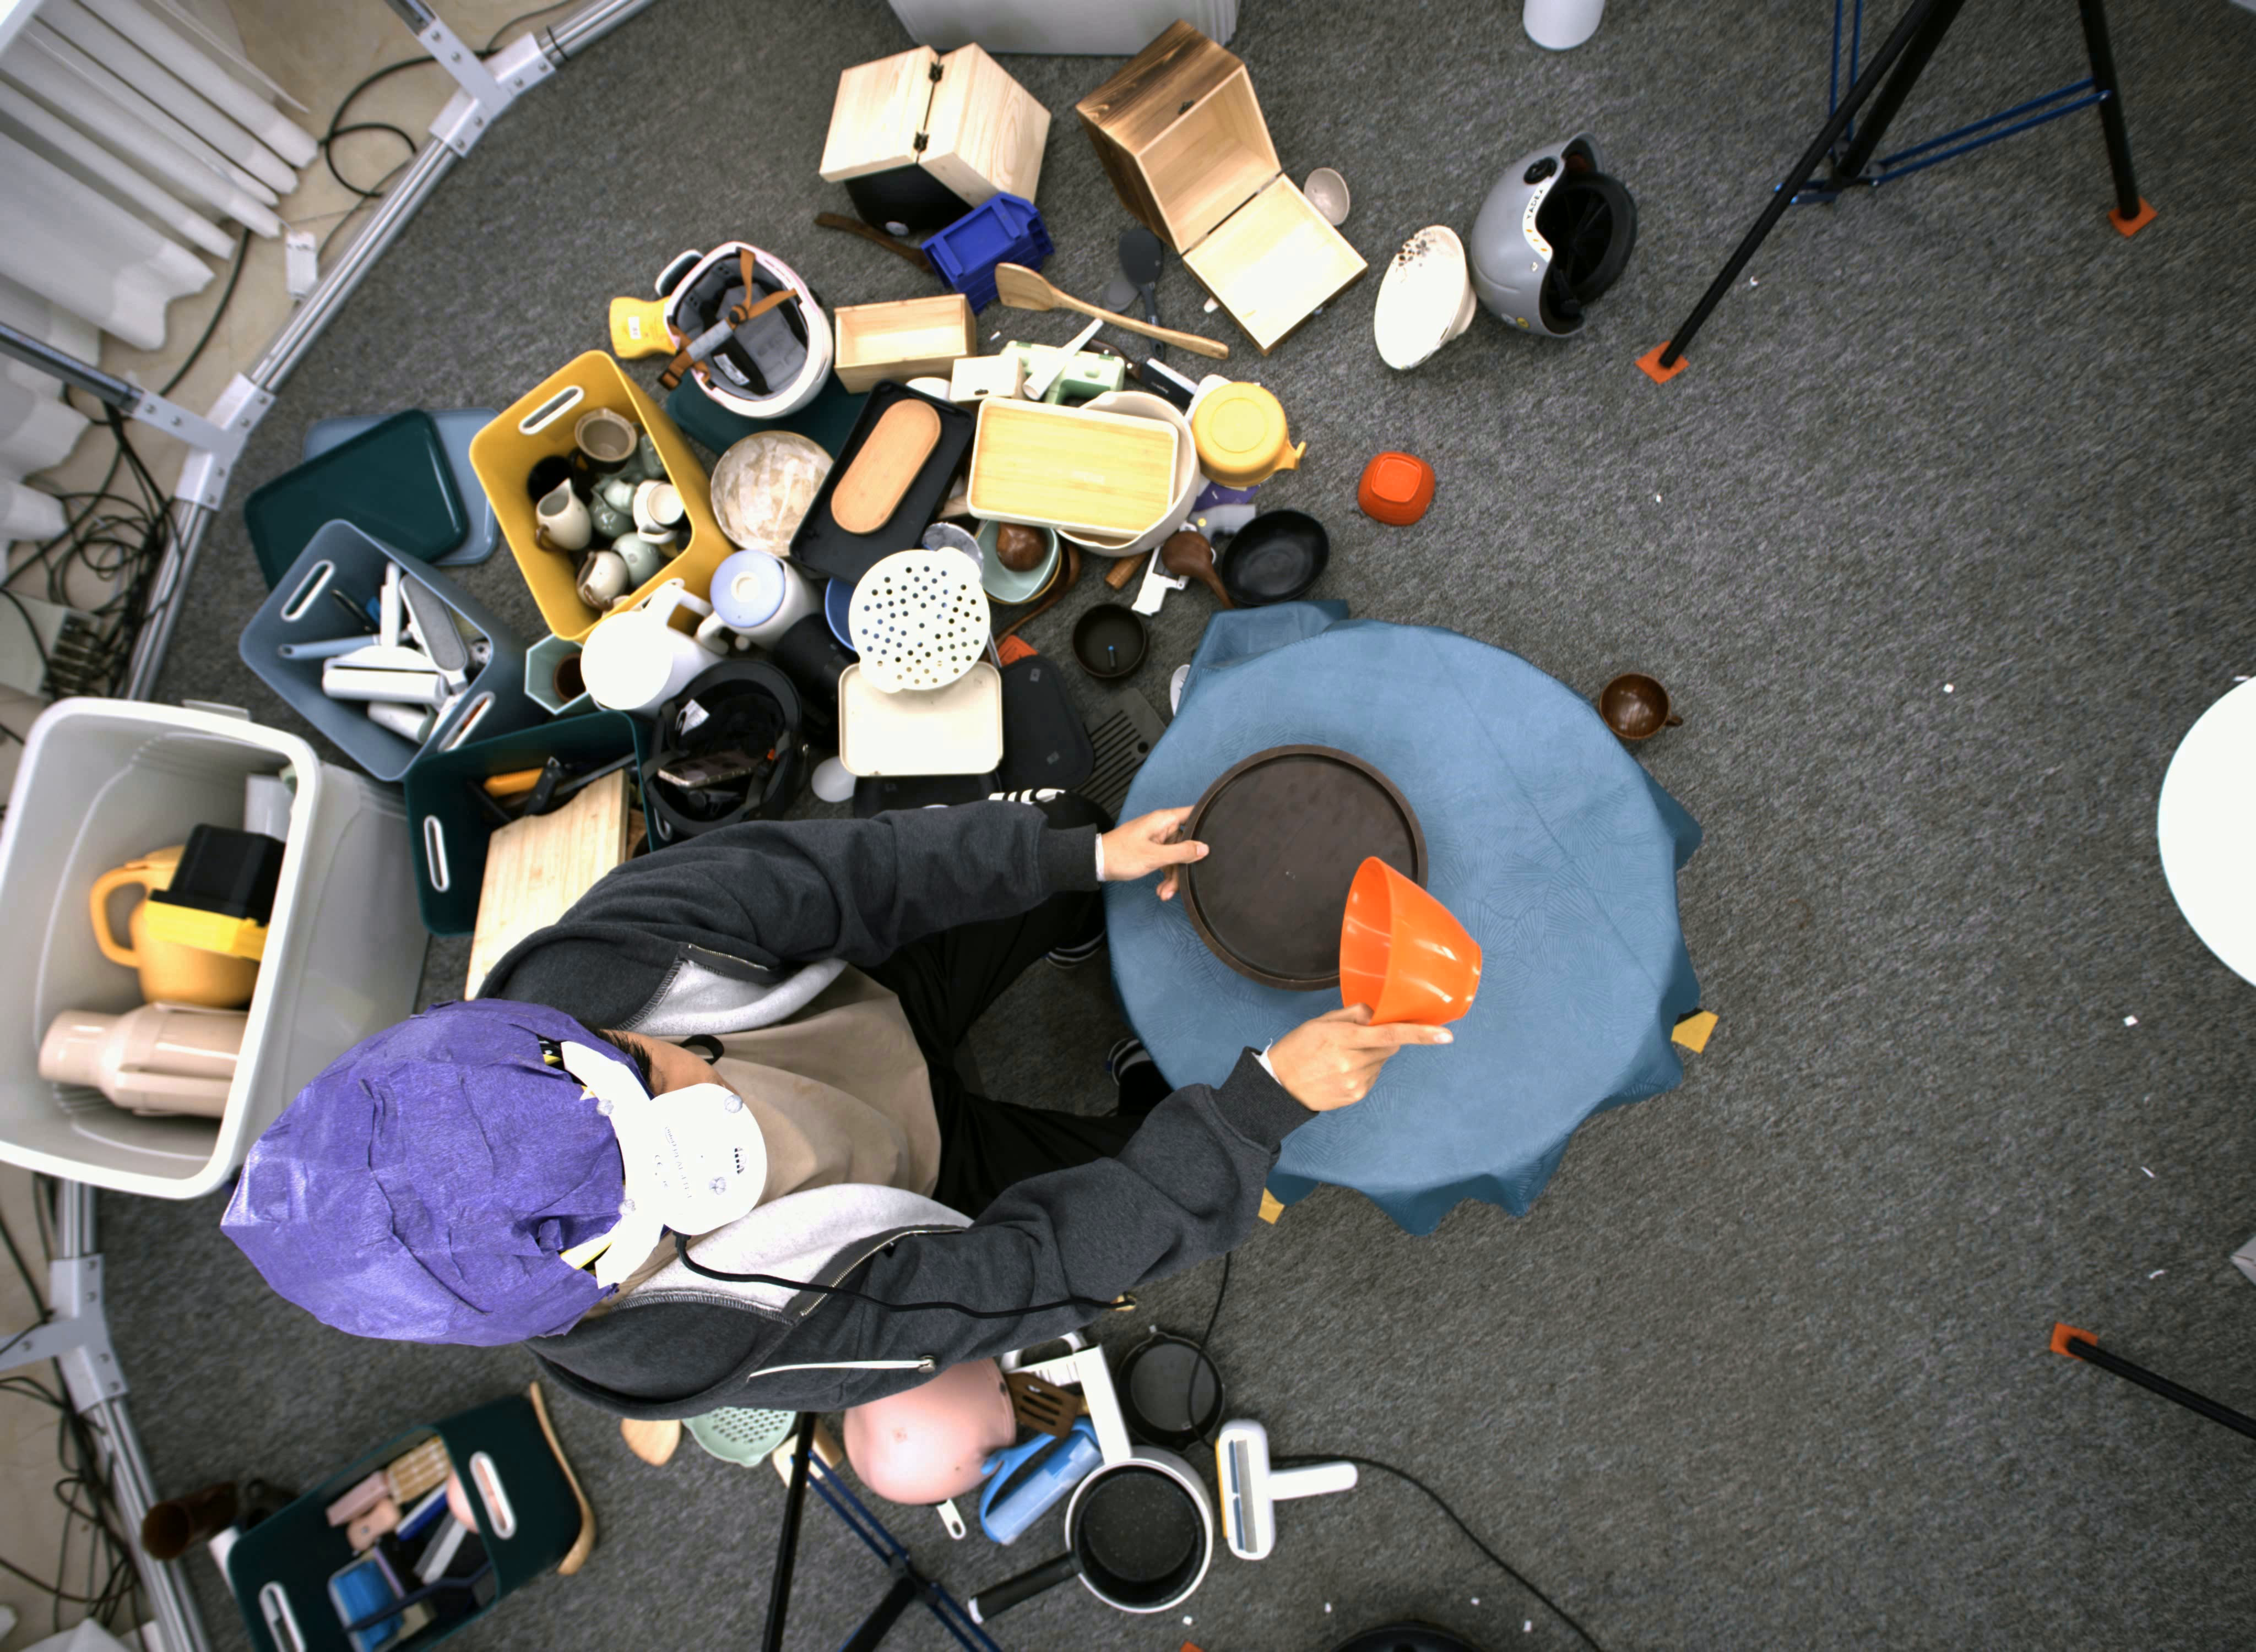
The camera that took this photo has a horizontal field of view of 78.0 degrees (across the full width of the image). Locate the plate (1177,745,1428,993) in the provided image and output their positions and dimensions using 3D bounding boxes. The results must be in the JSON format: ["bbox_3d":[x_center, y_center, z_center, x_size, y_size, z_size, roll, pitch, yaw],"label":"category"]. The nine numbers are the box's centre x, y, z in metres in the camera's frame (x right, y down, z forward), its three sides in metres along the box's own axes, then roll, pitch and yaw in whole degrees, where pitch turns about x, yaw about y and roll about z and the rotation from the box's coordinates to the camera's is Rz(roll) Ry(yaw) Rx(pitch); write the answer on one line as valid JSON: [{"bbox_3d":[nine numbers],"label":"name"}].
[{"bbox_3d":[0.177,0.042,1.408,0.255,0.029,0.253,-1,86,8],"label":"plate"}]

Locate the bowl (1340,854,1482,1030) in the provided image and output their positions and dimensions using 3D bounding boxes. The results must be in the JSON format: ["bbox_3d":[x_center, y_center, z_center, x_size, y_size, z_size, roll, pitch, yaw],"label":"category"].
[{"bbox_3d":[0.240,0.107,1.169,0.105,0.148,0.147,15,88,-2],"label":"bowl"}]
